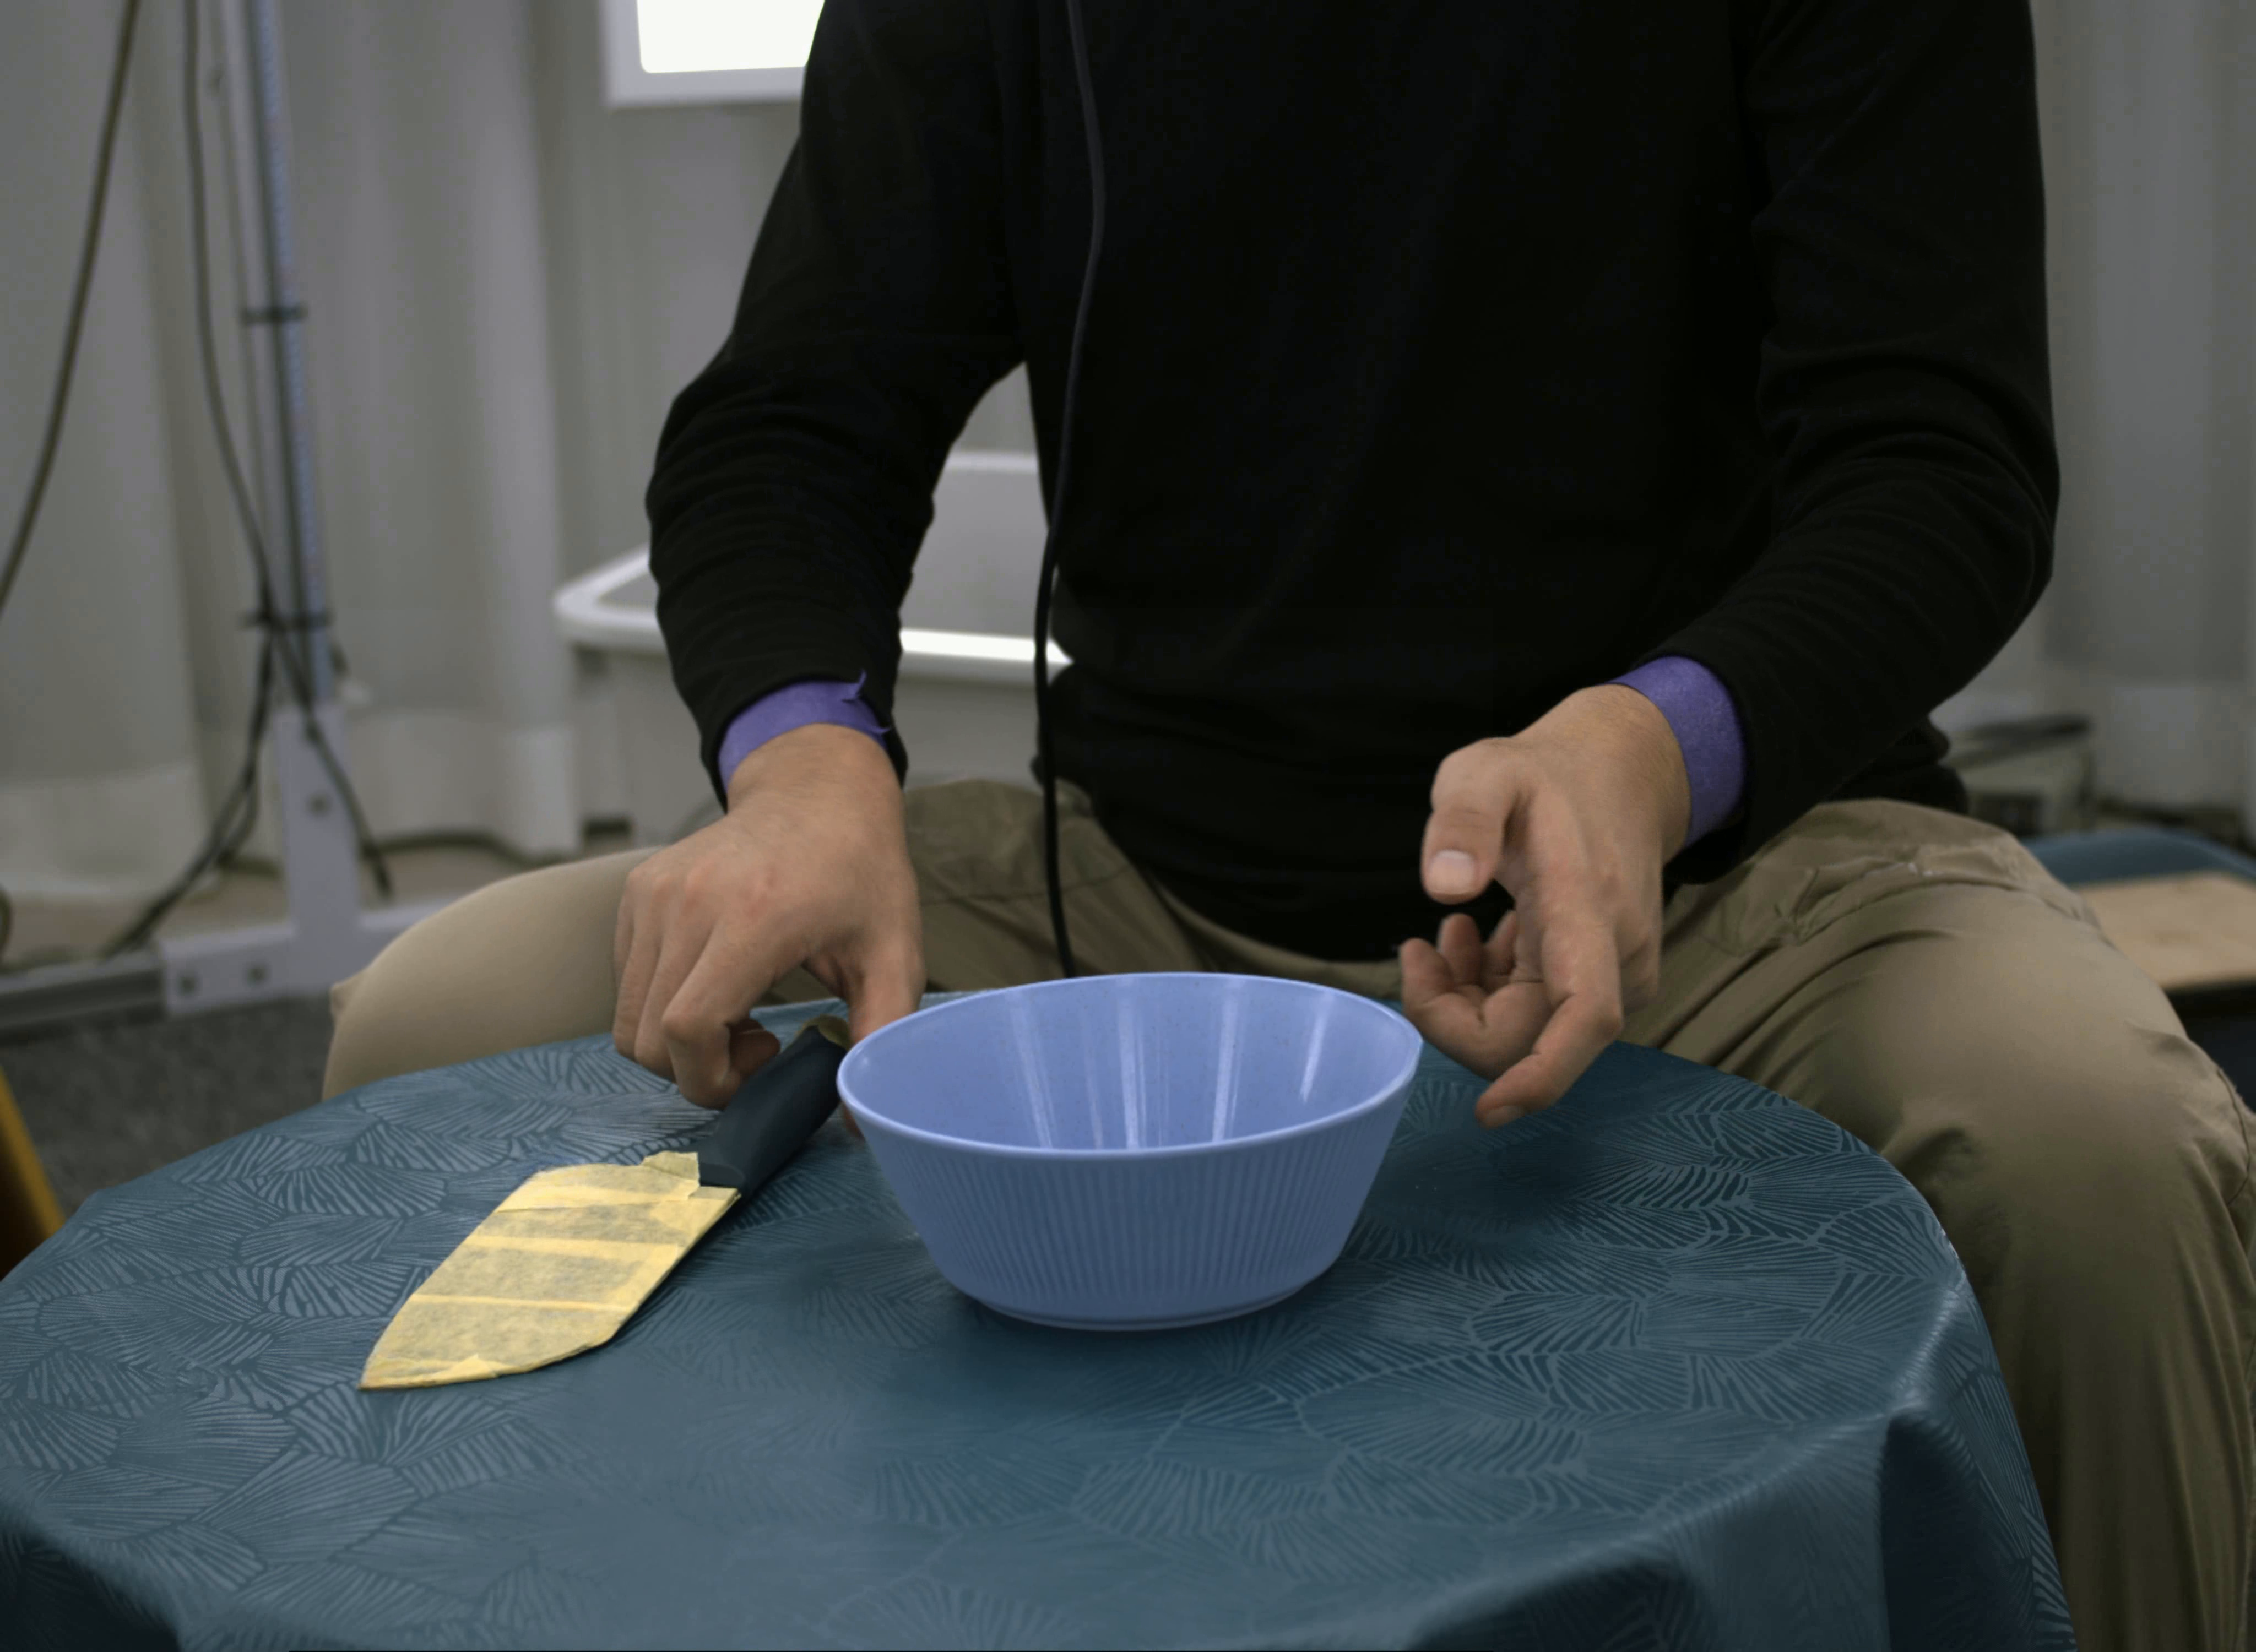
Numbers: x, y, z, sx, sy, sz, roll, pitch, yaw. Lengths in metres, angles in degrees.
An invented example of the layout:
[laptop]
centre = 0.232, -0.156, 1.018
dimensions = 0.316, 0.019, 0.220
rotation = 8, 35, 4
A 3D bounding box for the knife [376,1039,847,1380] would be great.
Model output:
[knife]
centre = -0.155, 0.119, 1.702
dimensions = 0.081, 0.027, 0.290
rotation = 5, 18, 18

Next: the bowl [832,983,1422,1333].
[bowl]
centre = 0.001, 0.101, 1.633
dimensions = 0.175, 0.070, 0.177
rotation = -3, 14, 1
